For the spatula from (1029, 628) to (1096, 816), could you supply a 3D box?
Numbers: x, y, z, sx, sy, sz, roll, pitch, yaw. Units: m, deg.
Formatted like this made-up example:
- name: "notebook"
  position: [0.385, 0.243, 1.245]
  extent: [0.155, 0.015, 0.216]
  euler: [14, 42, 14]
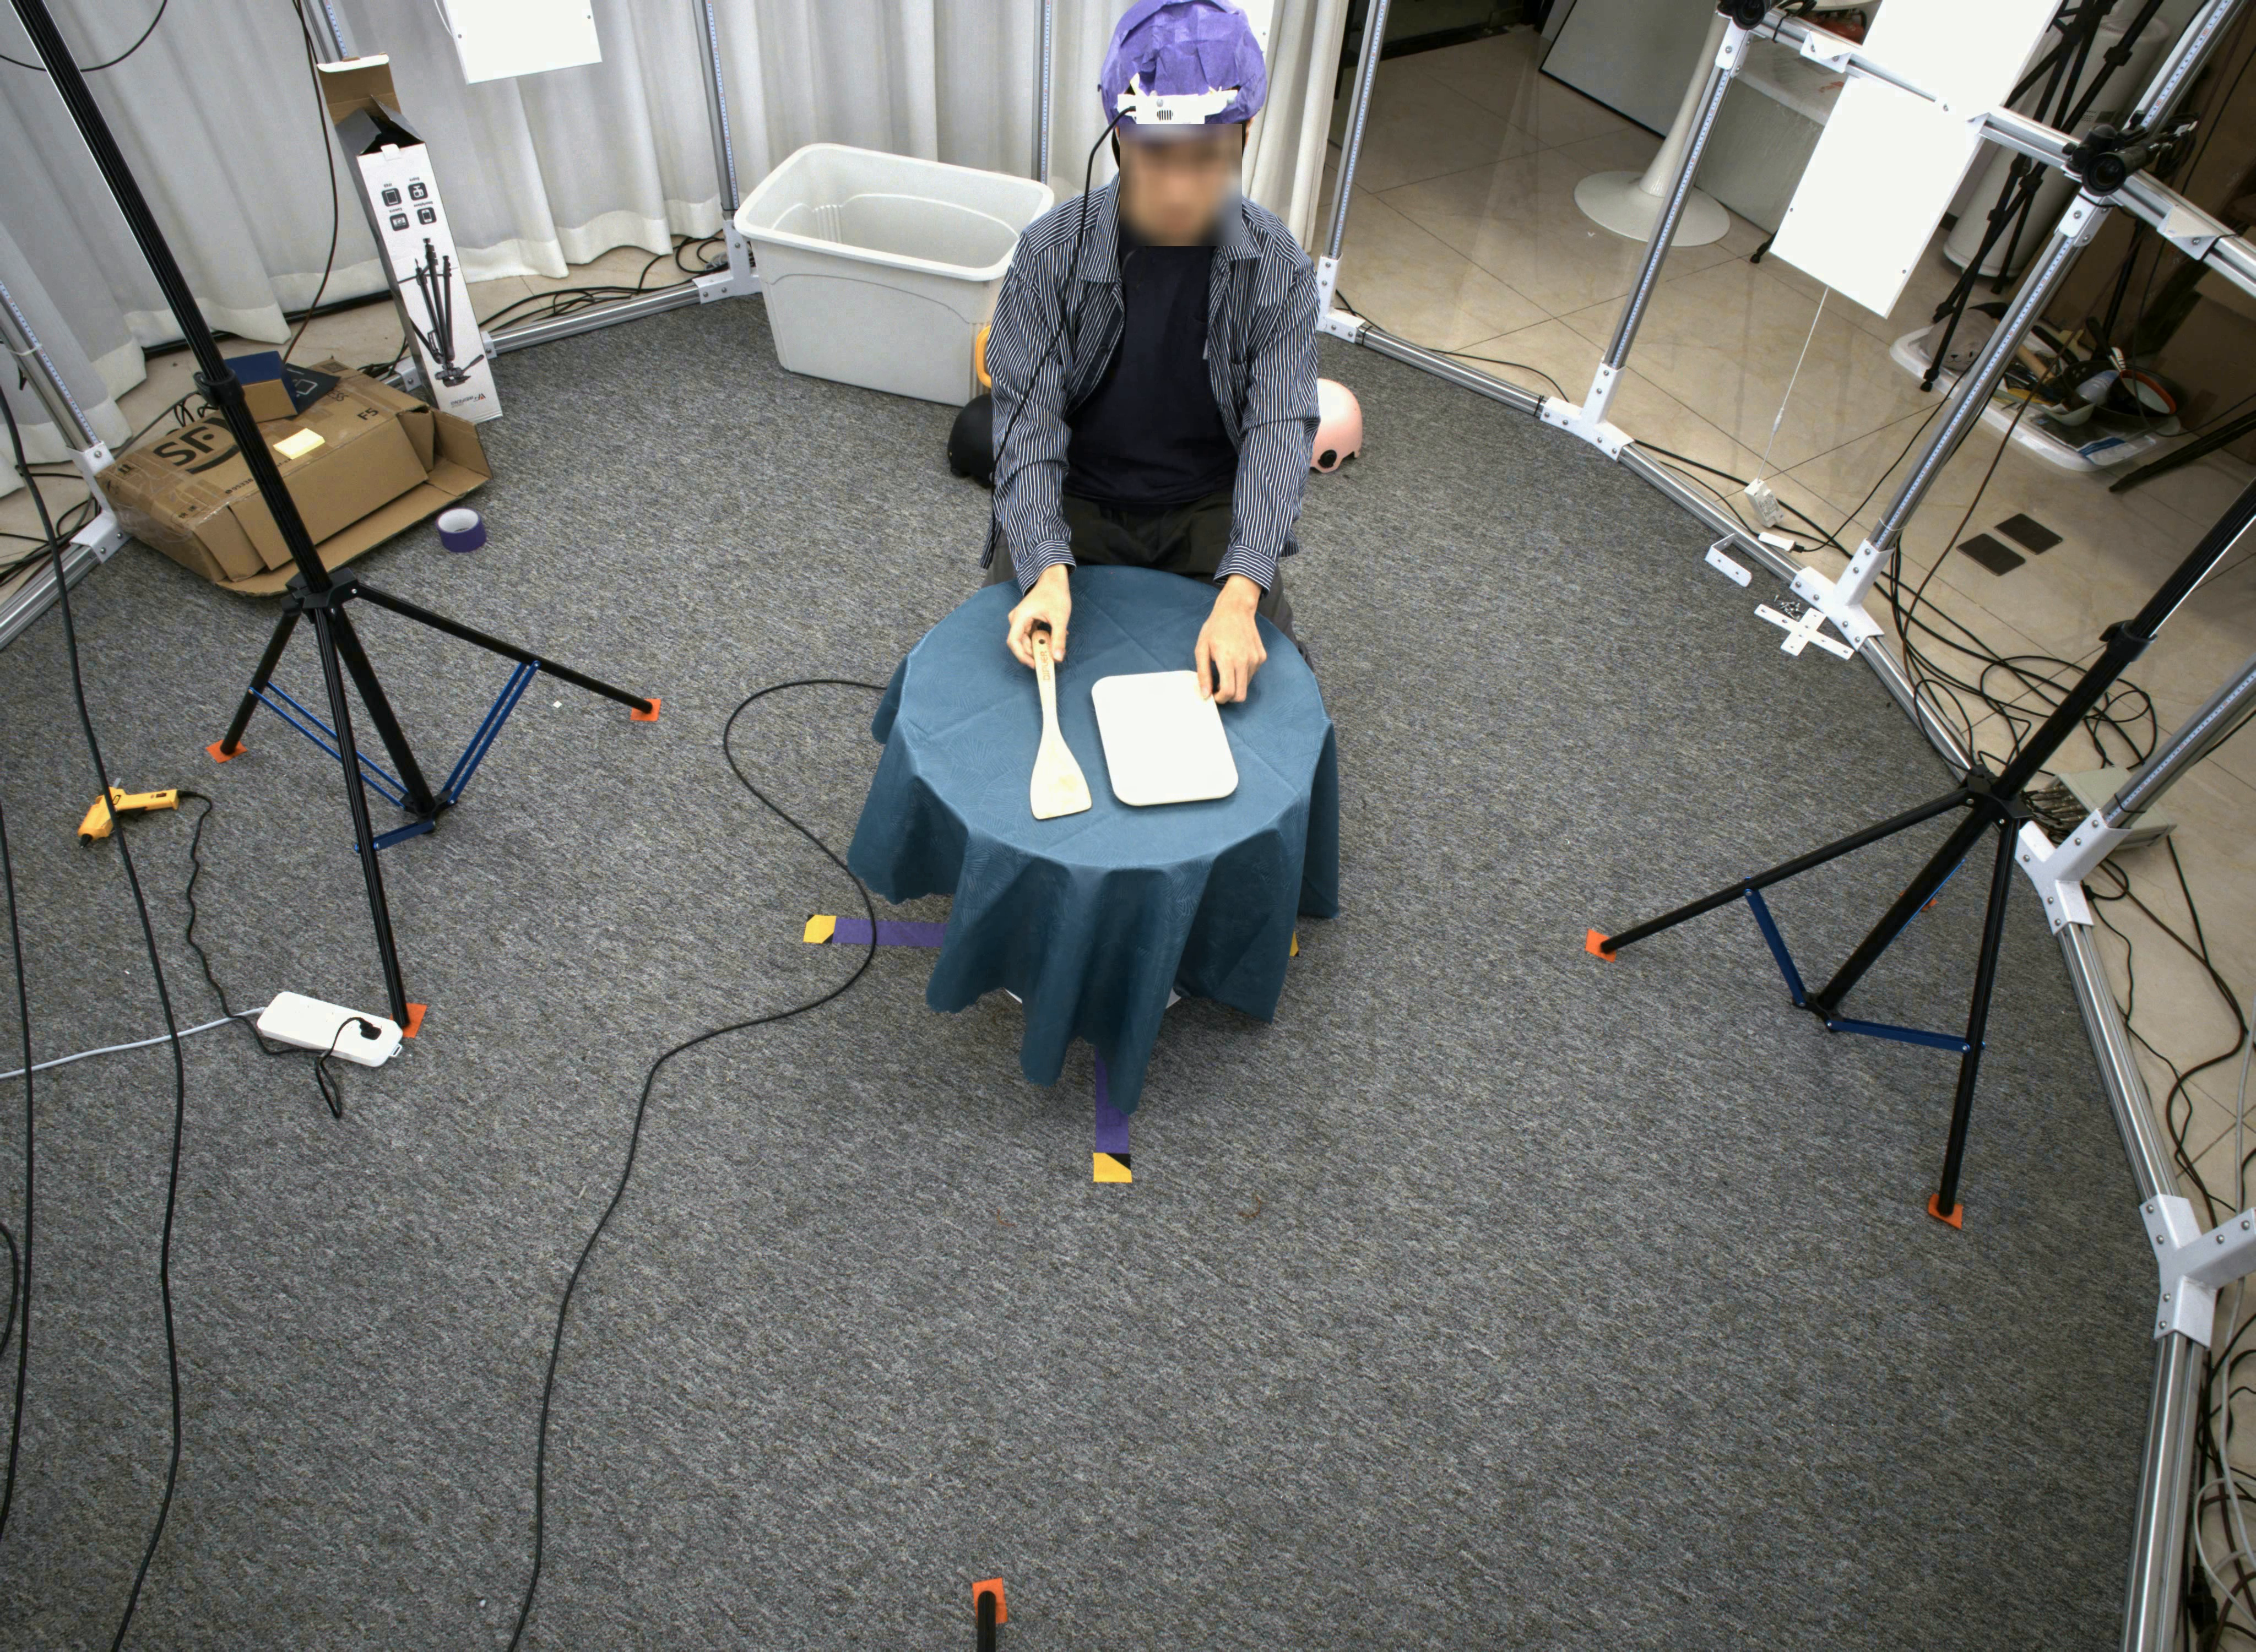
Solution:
- name: "spatula"
  position: [-0.103, -0.150, 1.756]
  extent: [0.080, 0.016, 0.335]
  euler: [-4, 56, -10]

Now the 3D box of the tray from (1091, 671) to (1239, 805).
- name: "tray"
  position: [0.047, -0.123, 1.758]
  extent: [0.171, 0.017, 0.246]
  euler: [-5, 49, -10]
